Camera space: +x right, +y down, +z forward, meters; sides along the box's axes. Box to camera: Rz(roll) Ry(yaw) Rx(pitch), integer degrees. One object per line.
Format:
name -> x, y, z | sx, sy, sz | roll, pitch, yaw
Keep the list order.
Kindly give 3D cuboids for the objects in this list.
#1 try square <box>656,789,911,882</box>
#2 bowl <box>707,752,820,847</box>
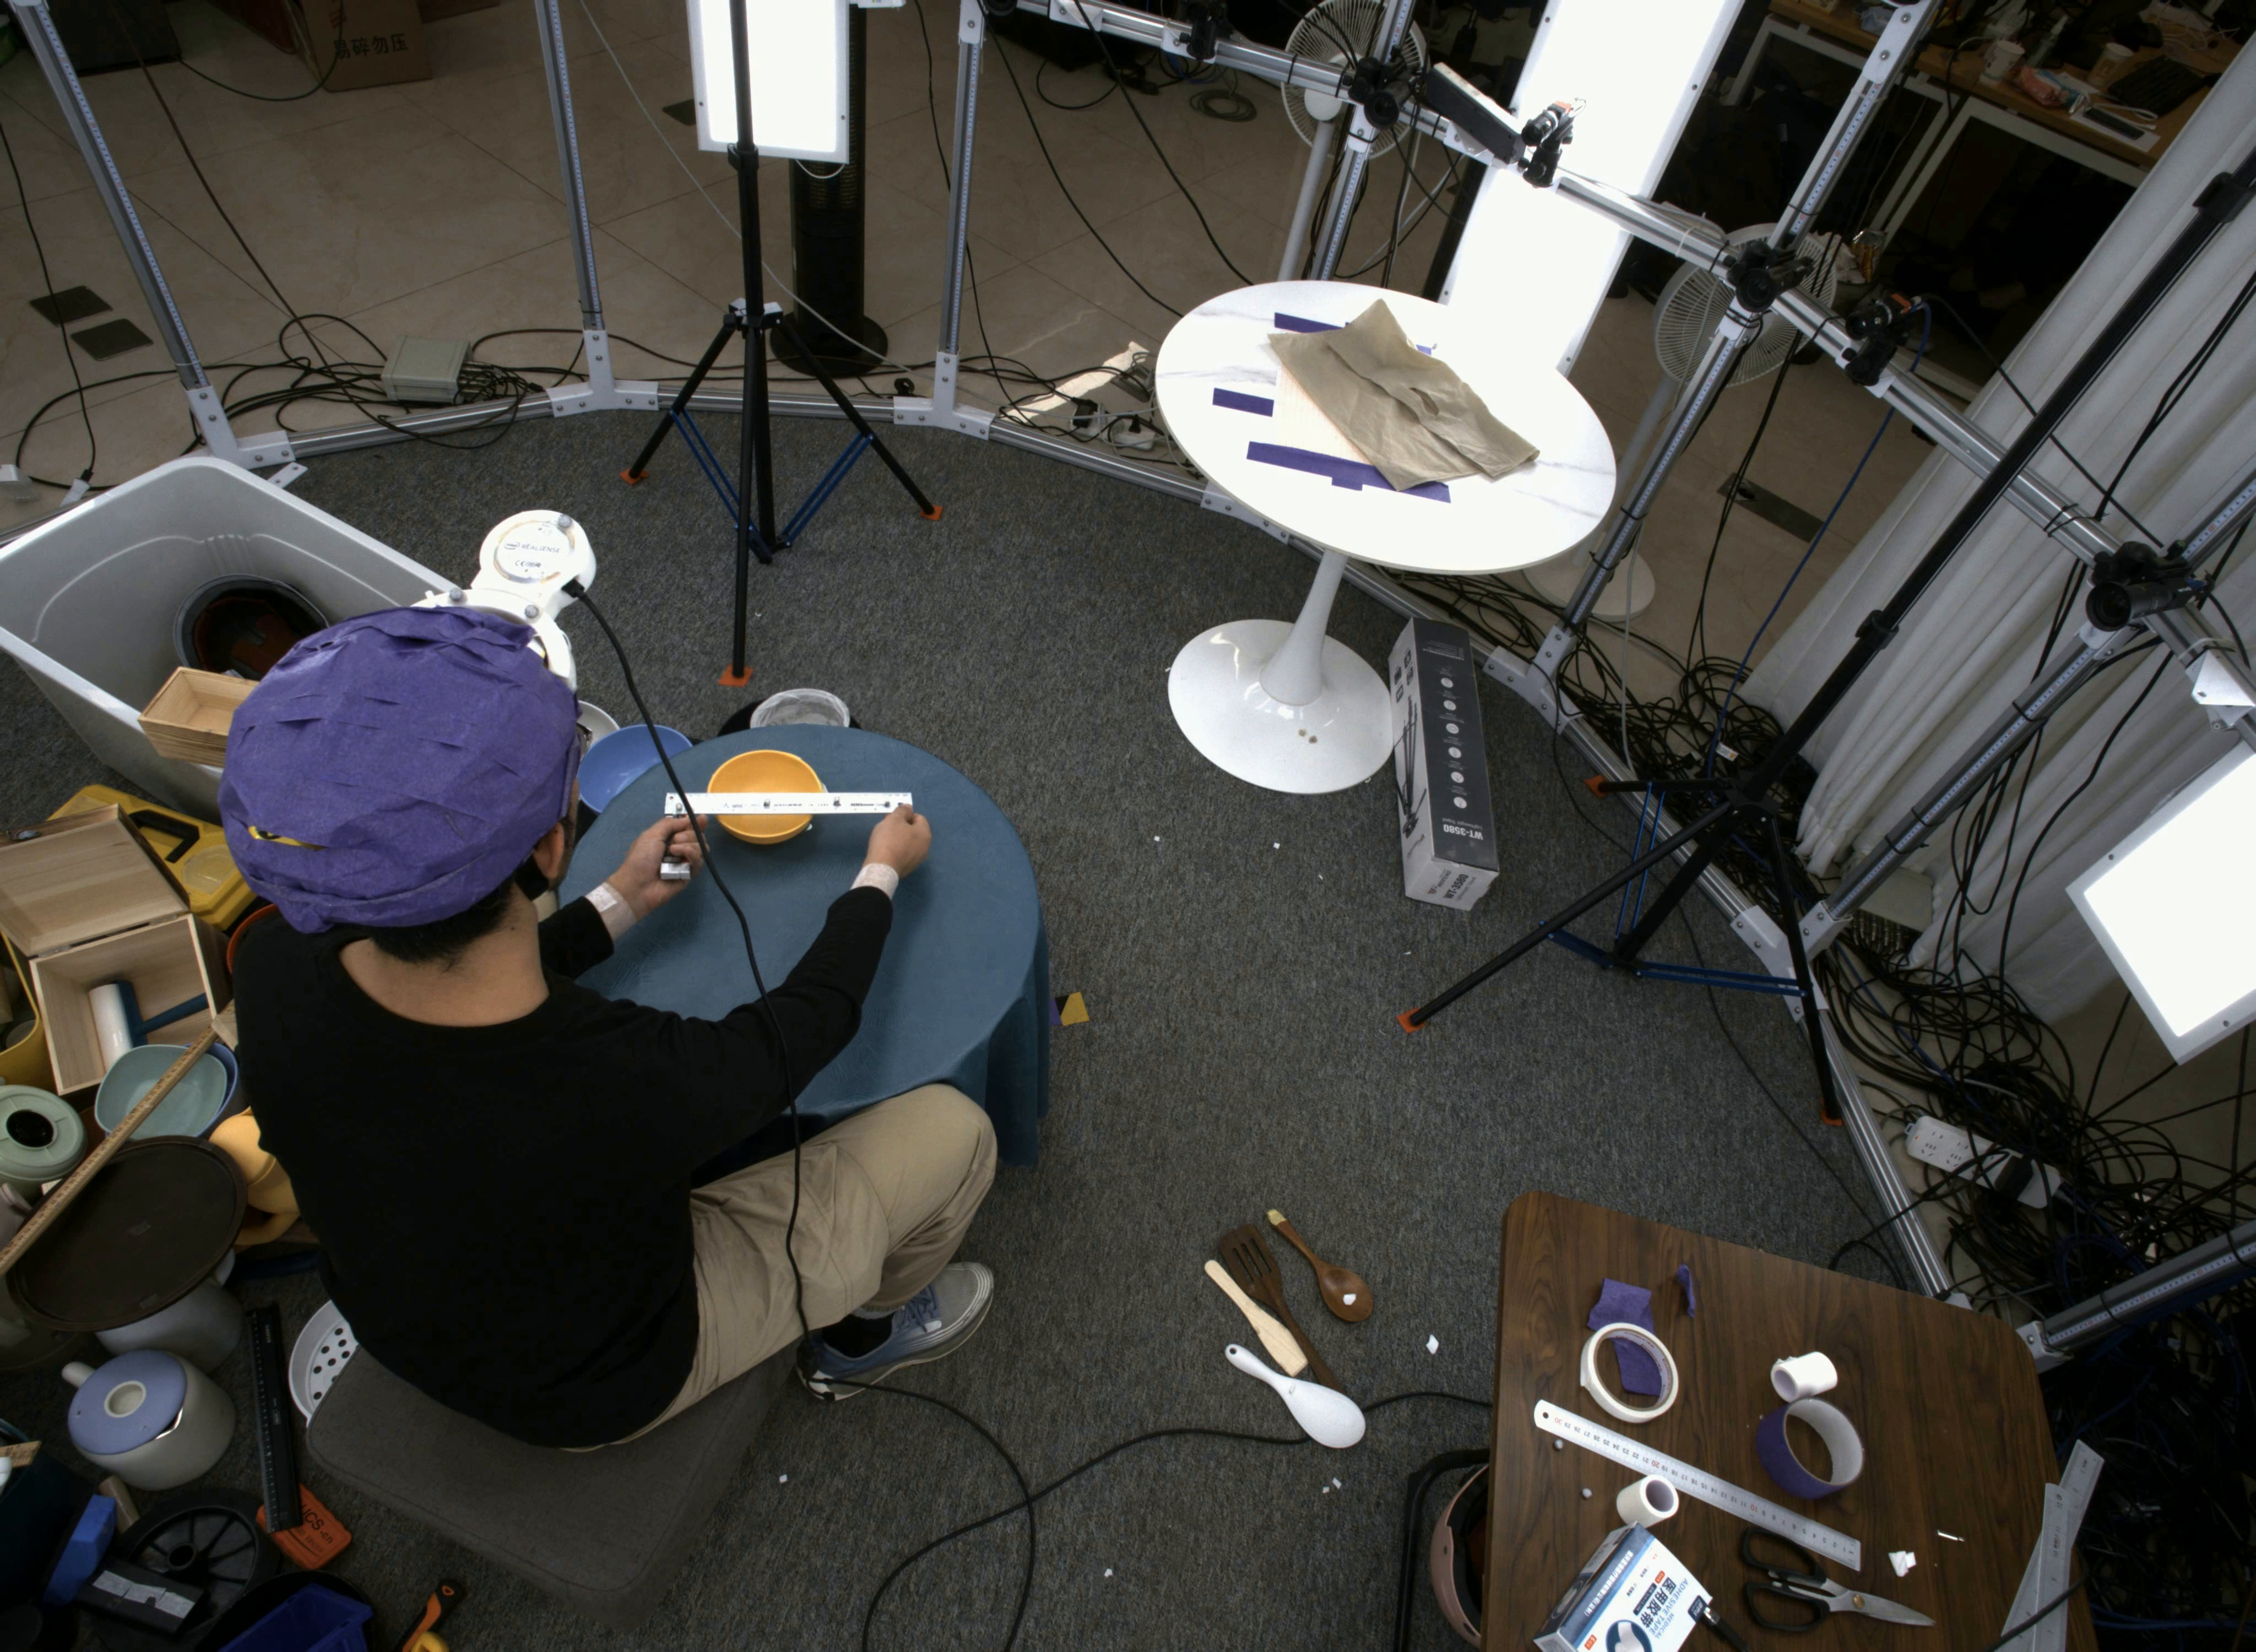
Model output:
try square -> -0.425, 0.006, 1.620 | 0.314, 0.016, 0.148 | 0, 46, -17
bowl -> -0.473, -0.024, 1.689 | 0.144, 0.061, 0.143 | 6, 54, -6
